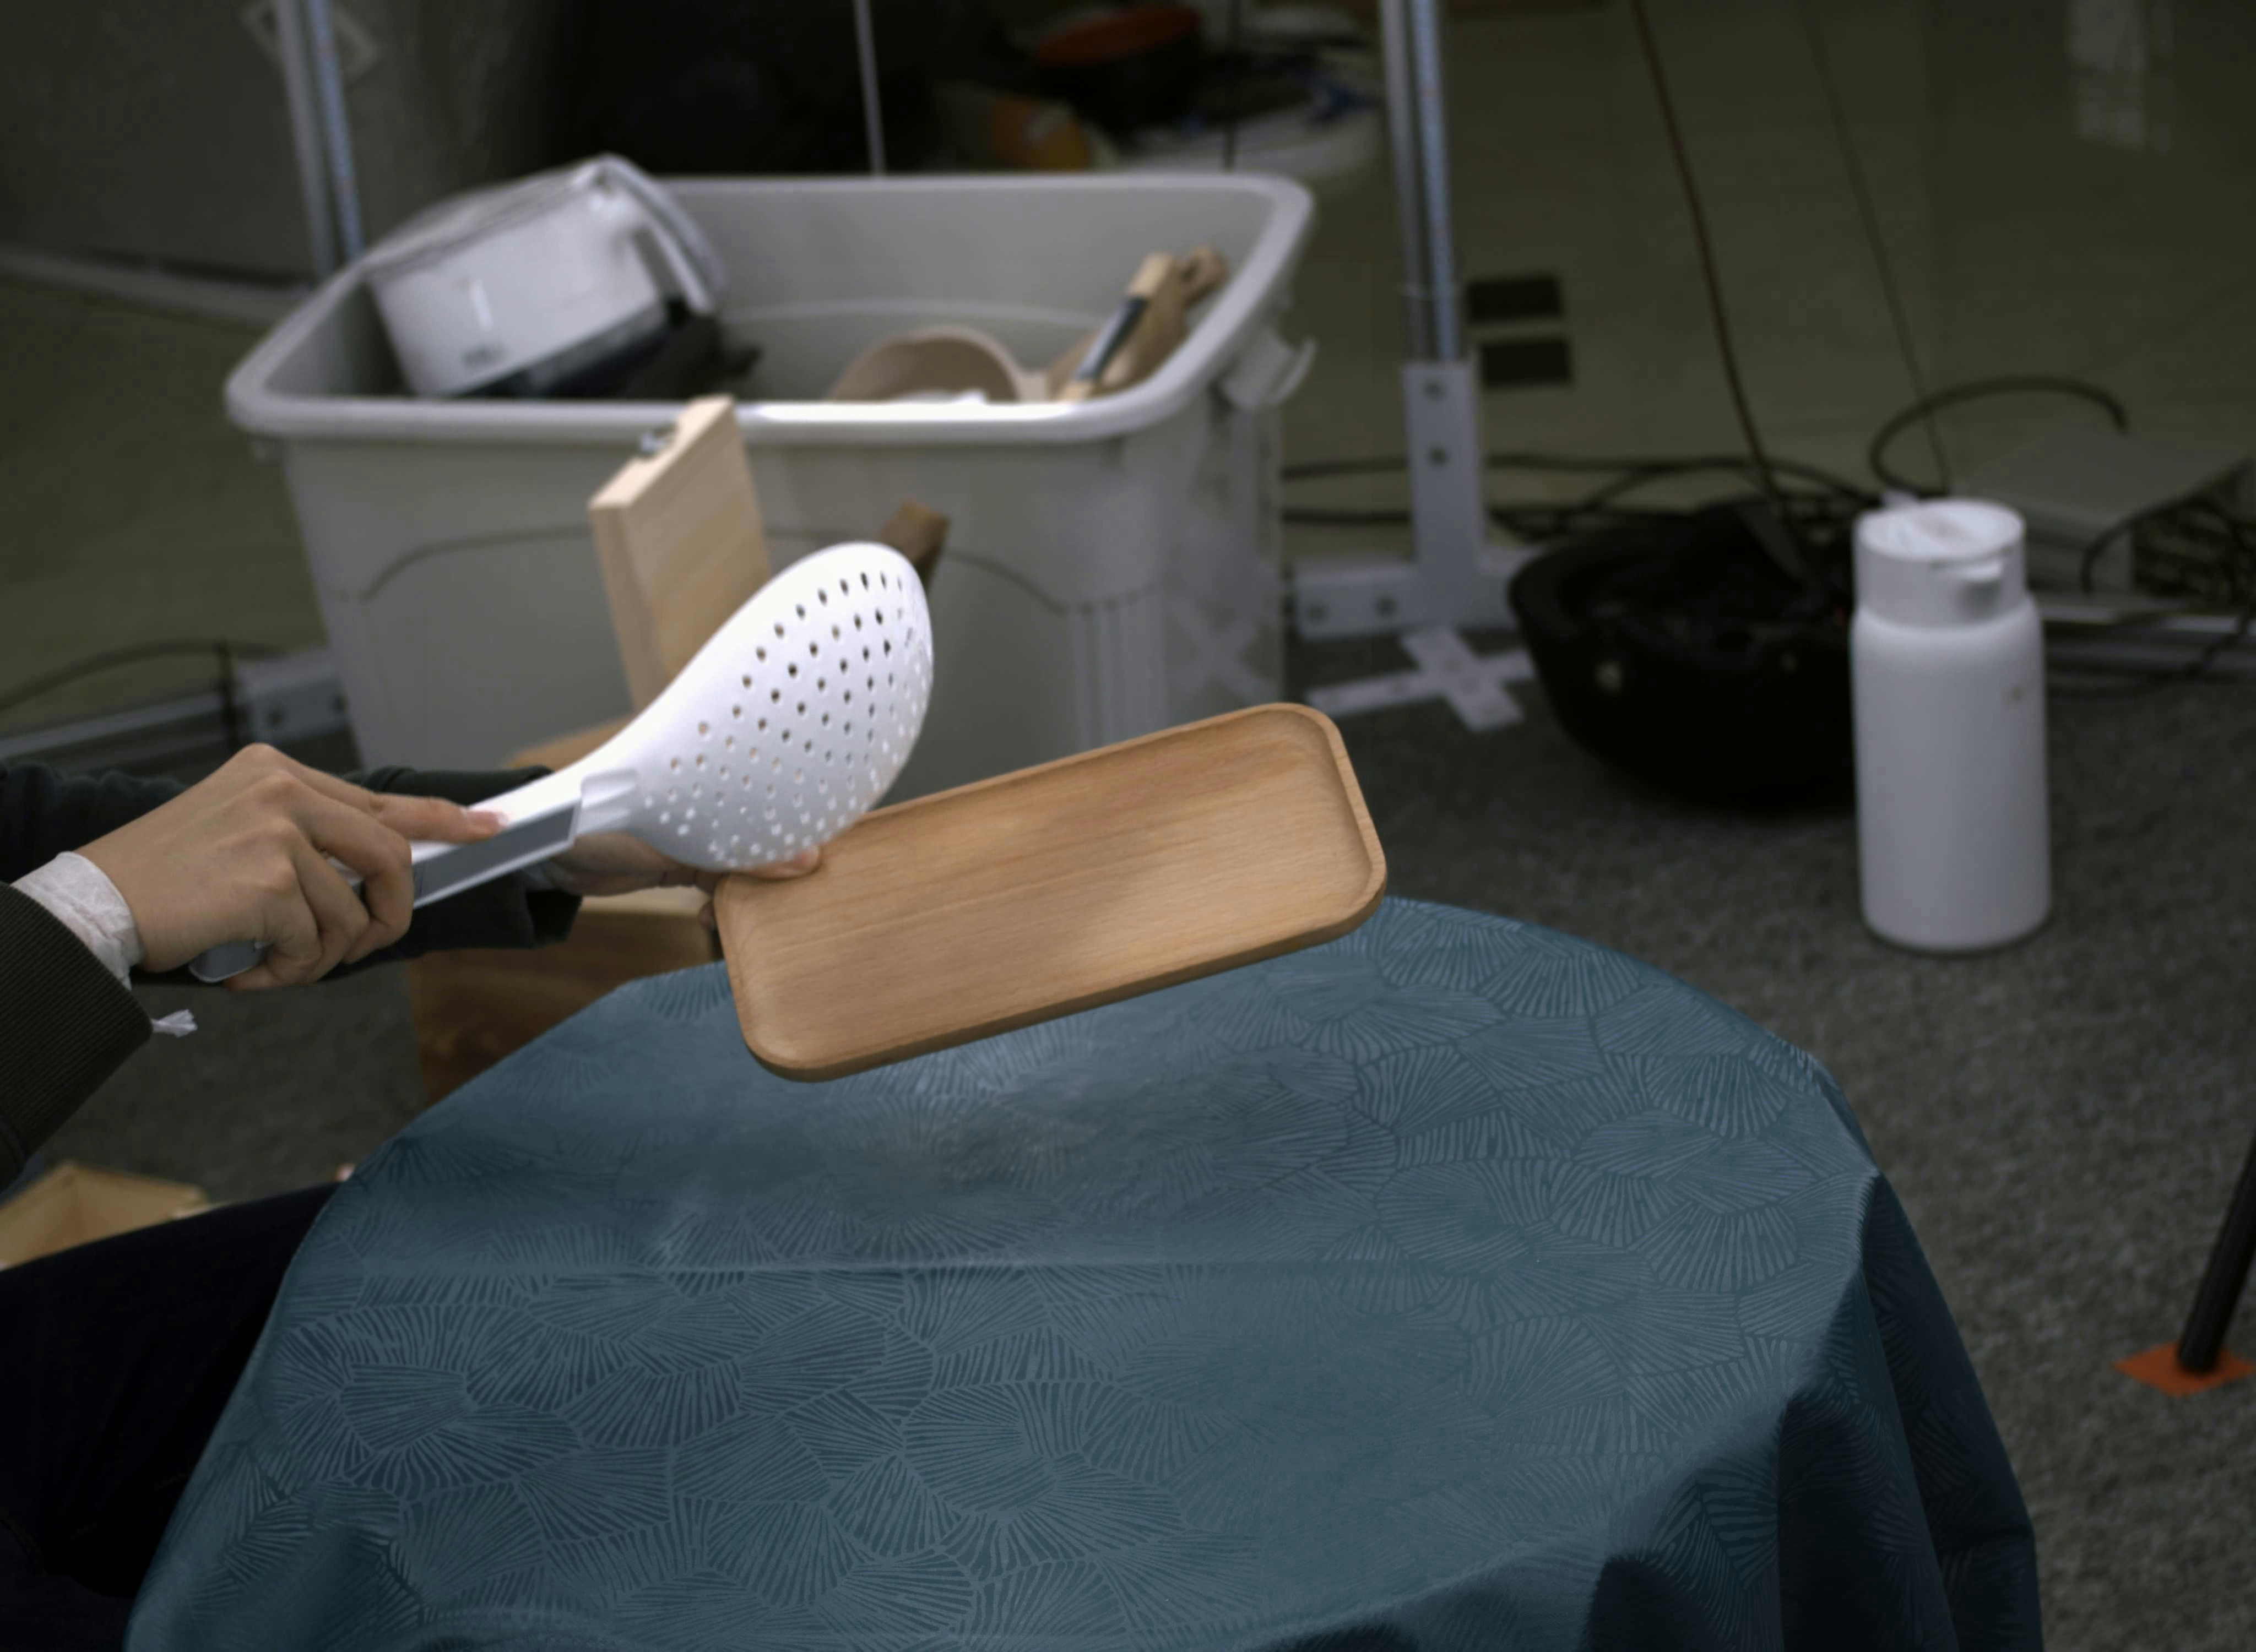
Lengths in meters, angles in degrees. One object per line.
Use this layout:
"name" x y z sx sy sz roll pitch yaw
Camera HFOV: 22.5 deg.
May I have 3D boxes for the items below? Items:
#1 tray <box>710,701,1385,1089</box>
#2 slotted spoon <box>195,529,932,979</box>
"tray" -0.031 0.026 2.149 0.250 0.023 0.128 -16 43 0
"slotted spoon" -0.189 -0.013 1.994 0.347 0.138 0.045 -19 44 -40
